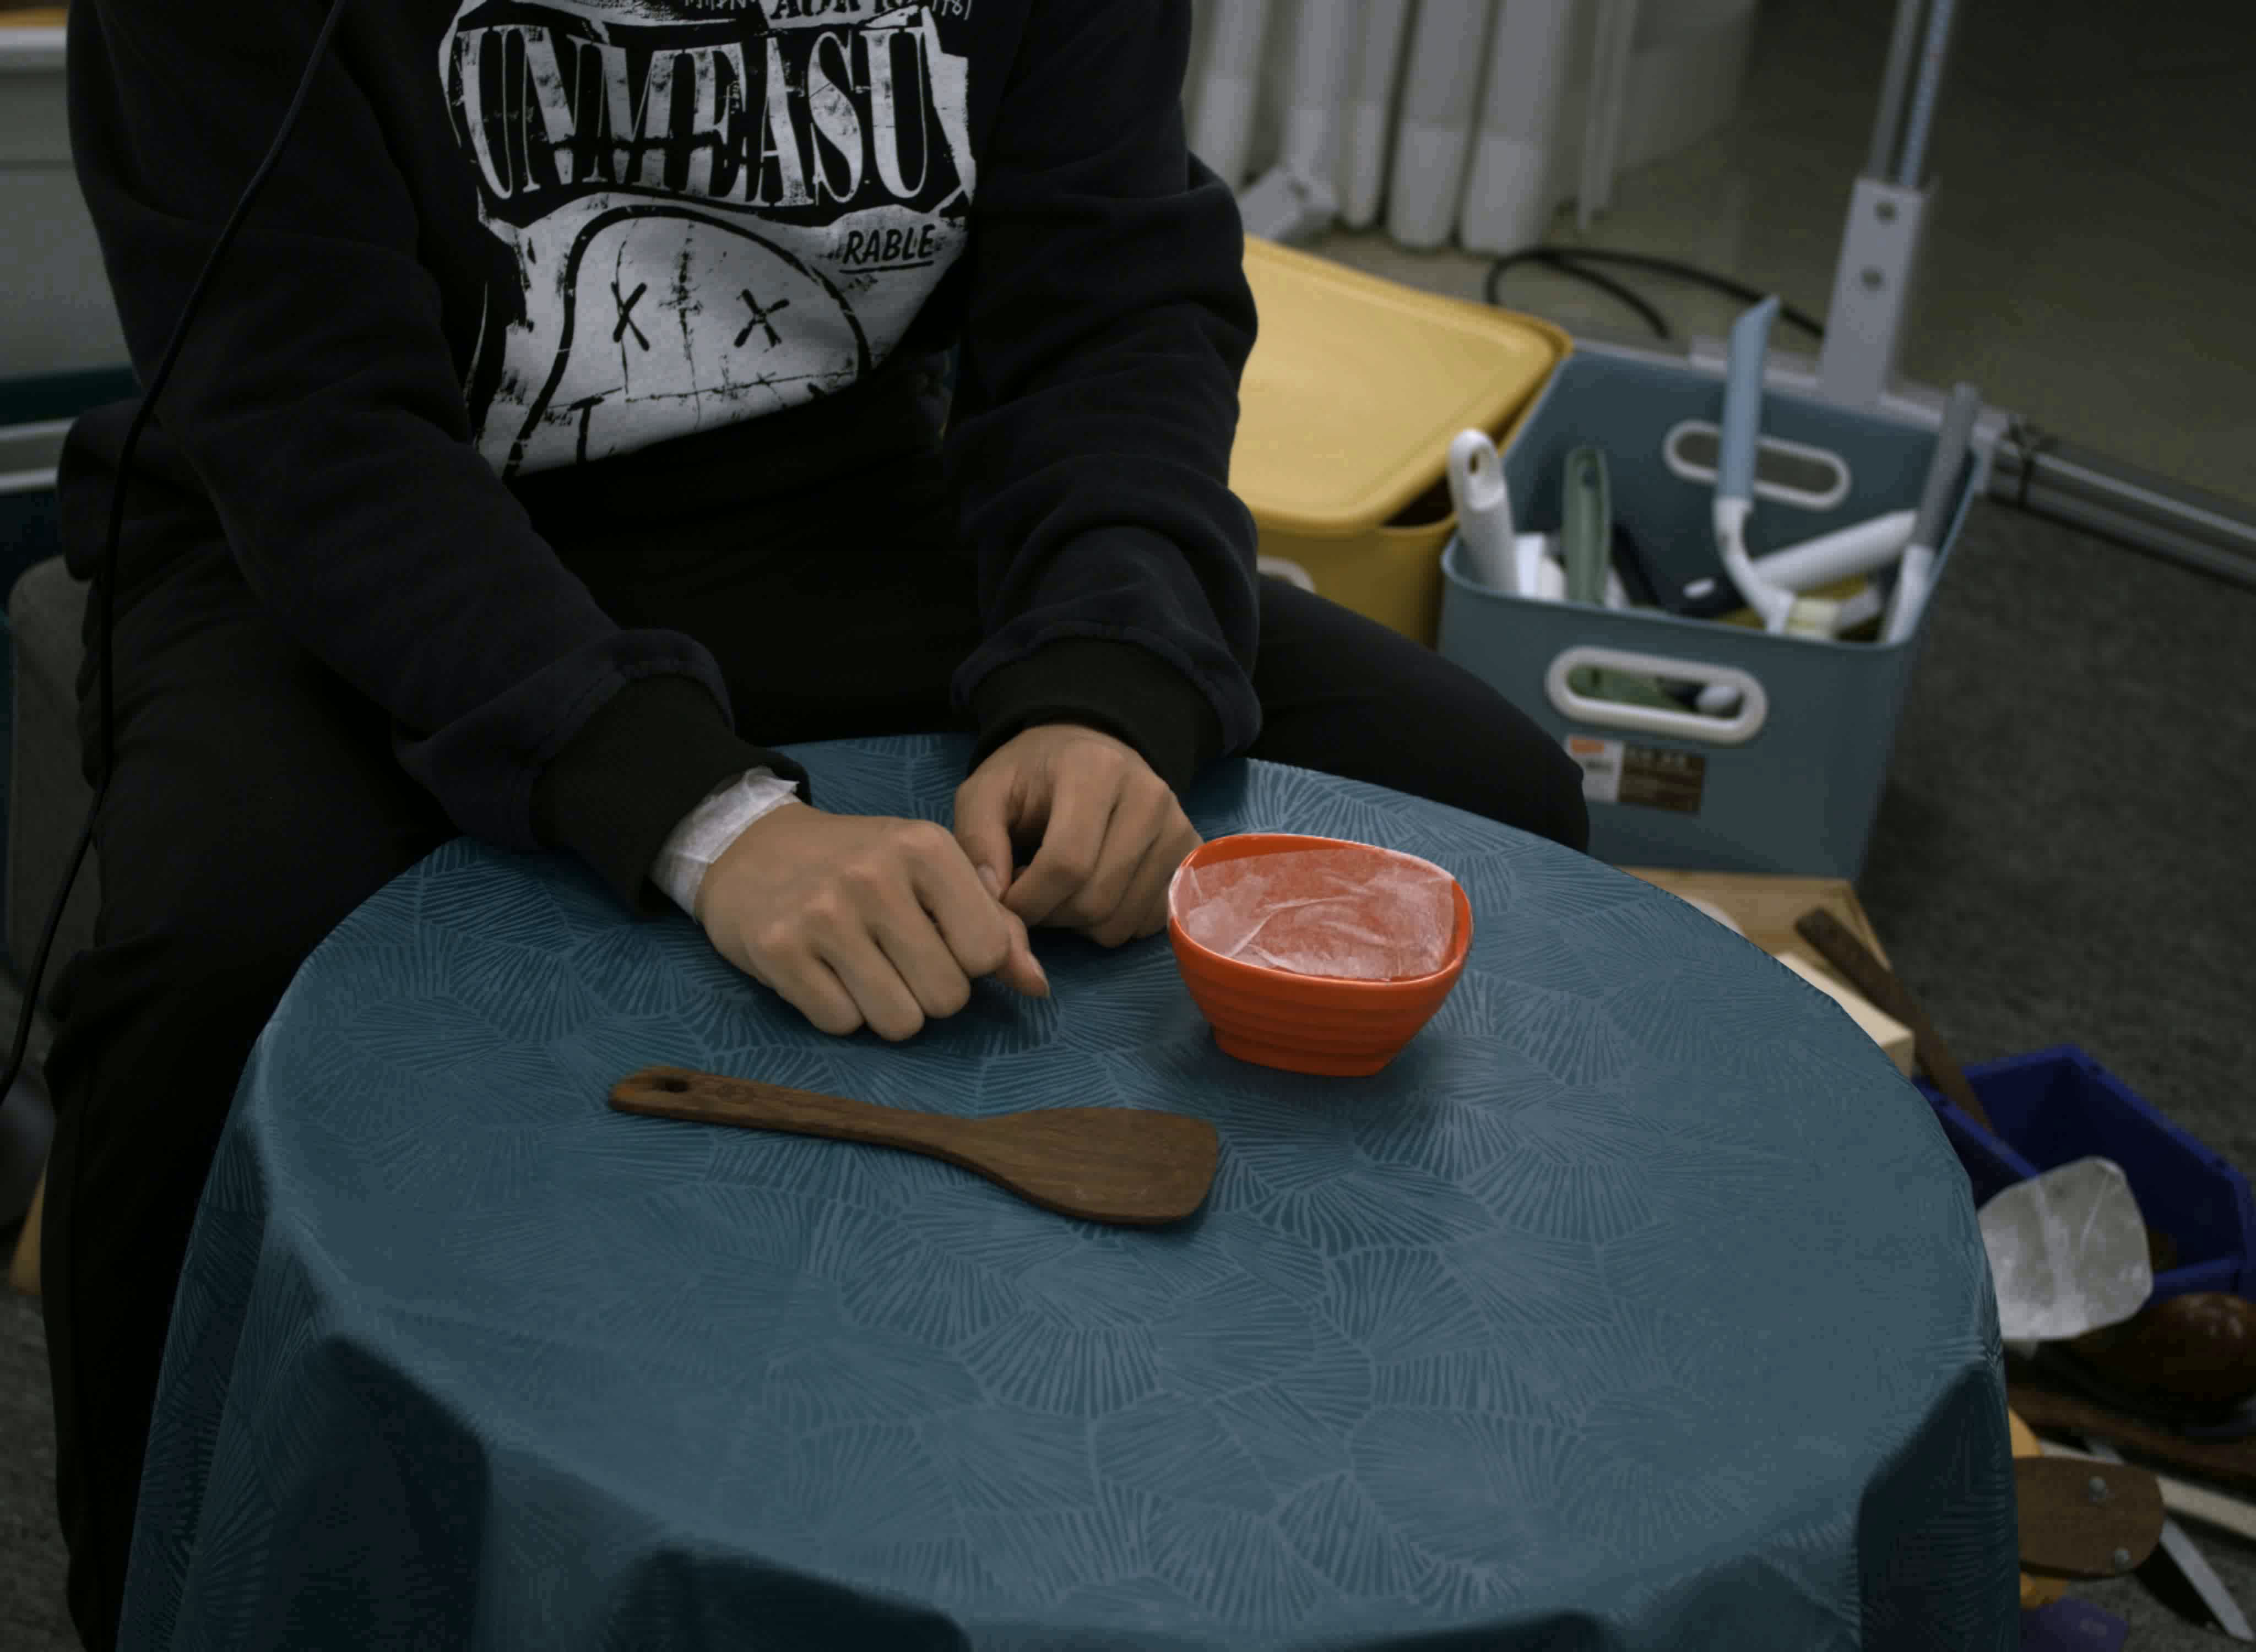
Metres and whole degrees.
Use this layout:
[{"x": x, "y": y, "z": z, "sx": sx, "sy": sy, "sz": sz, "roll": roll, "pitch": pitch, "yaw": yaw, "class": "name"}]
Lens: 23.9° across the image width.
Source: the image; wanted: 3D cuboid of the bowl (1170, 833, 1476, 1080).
[{"x": 0.067, "y": 0.051, "z": 1.904, "sx": 0.118, "sy": 0.051, "sz": 0.119, "roll": 6, "pitch": 28, "yaw": -3, "class": "bowl"}]

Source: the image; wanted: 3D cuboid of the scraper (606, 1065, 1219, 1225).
[{"x": -0.074, "y": 0.104, "z": 1.814, "sx": 0.211, "sy": 0.011, "sz": 0.076, "roll": 9, "pitch": 26, "yaw": 5, "class": "scraper"}]
